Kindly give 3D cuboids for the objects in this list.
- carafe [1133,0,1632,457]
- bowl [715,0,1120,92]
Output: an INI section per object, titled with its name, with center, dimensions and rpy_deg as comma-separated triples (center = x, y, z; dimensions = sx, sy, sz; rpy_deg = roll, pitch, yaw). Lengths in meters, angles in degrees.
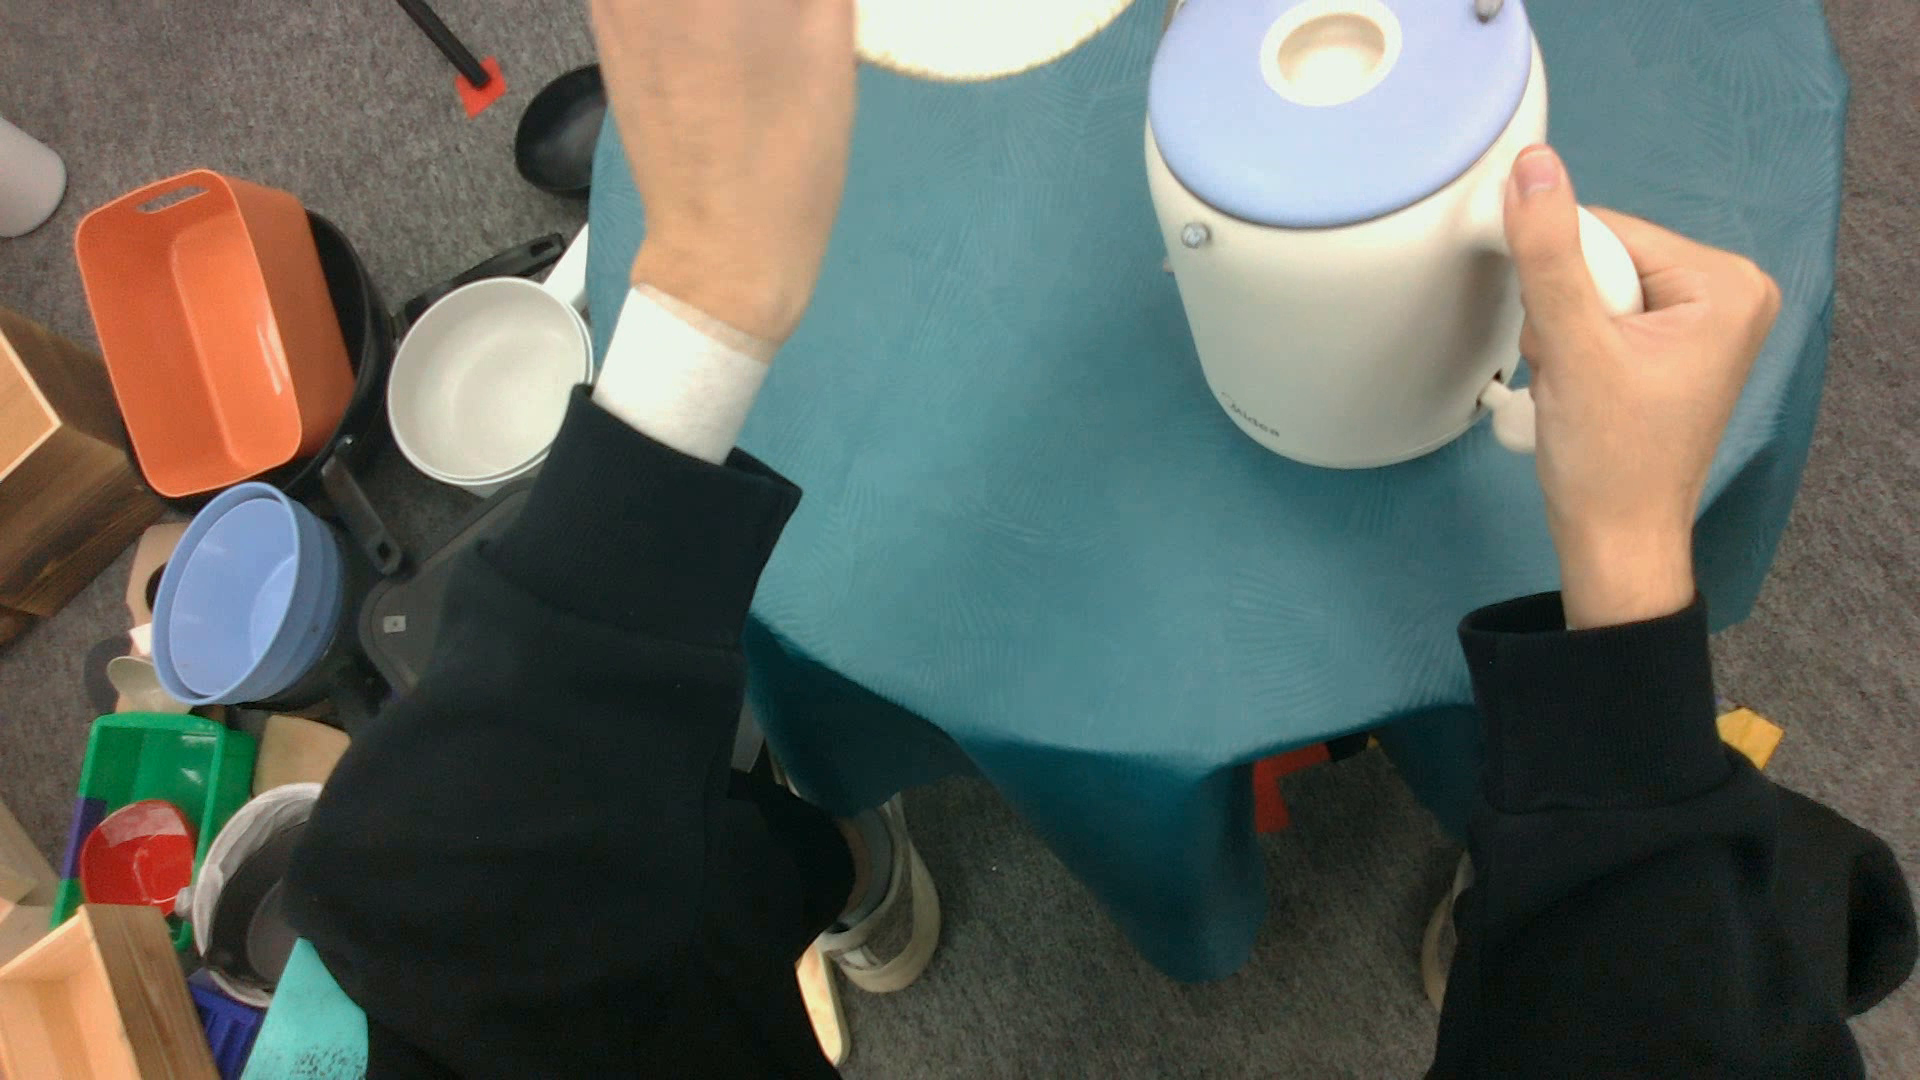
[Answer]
[carafe]
center = 0.157, -0.108, 0.509
dimensions = 0.191, 0.182, 0.132
rpy_deg = 39, 84, 25
[bowl]
center = -0.027, -0.255, 0.460
dimensions = 0.204, 0.204, 0.078
rpy_deg = -48, 26, -5
